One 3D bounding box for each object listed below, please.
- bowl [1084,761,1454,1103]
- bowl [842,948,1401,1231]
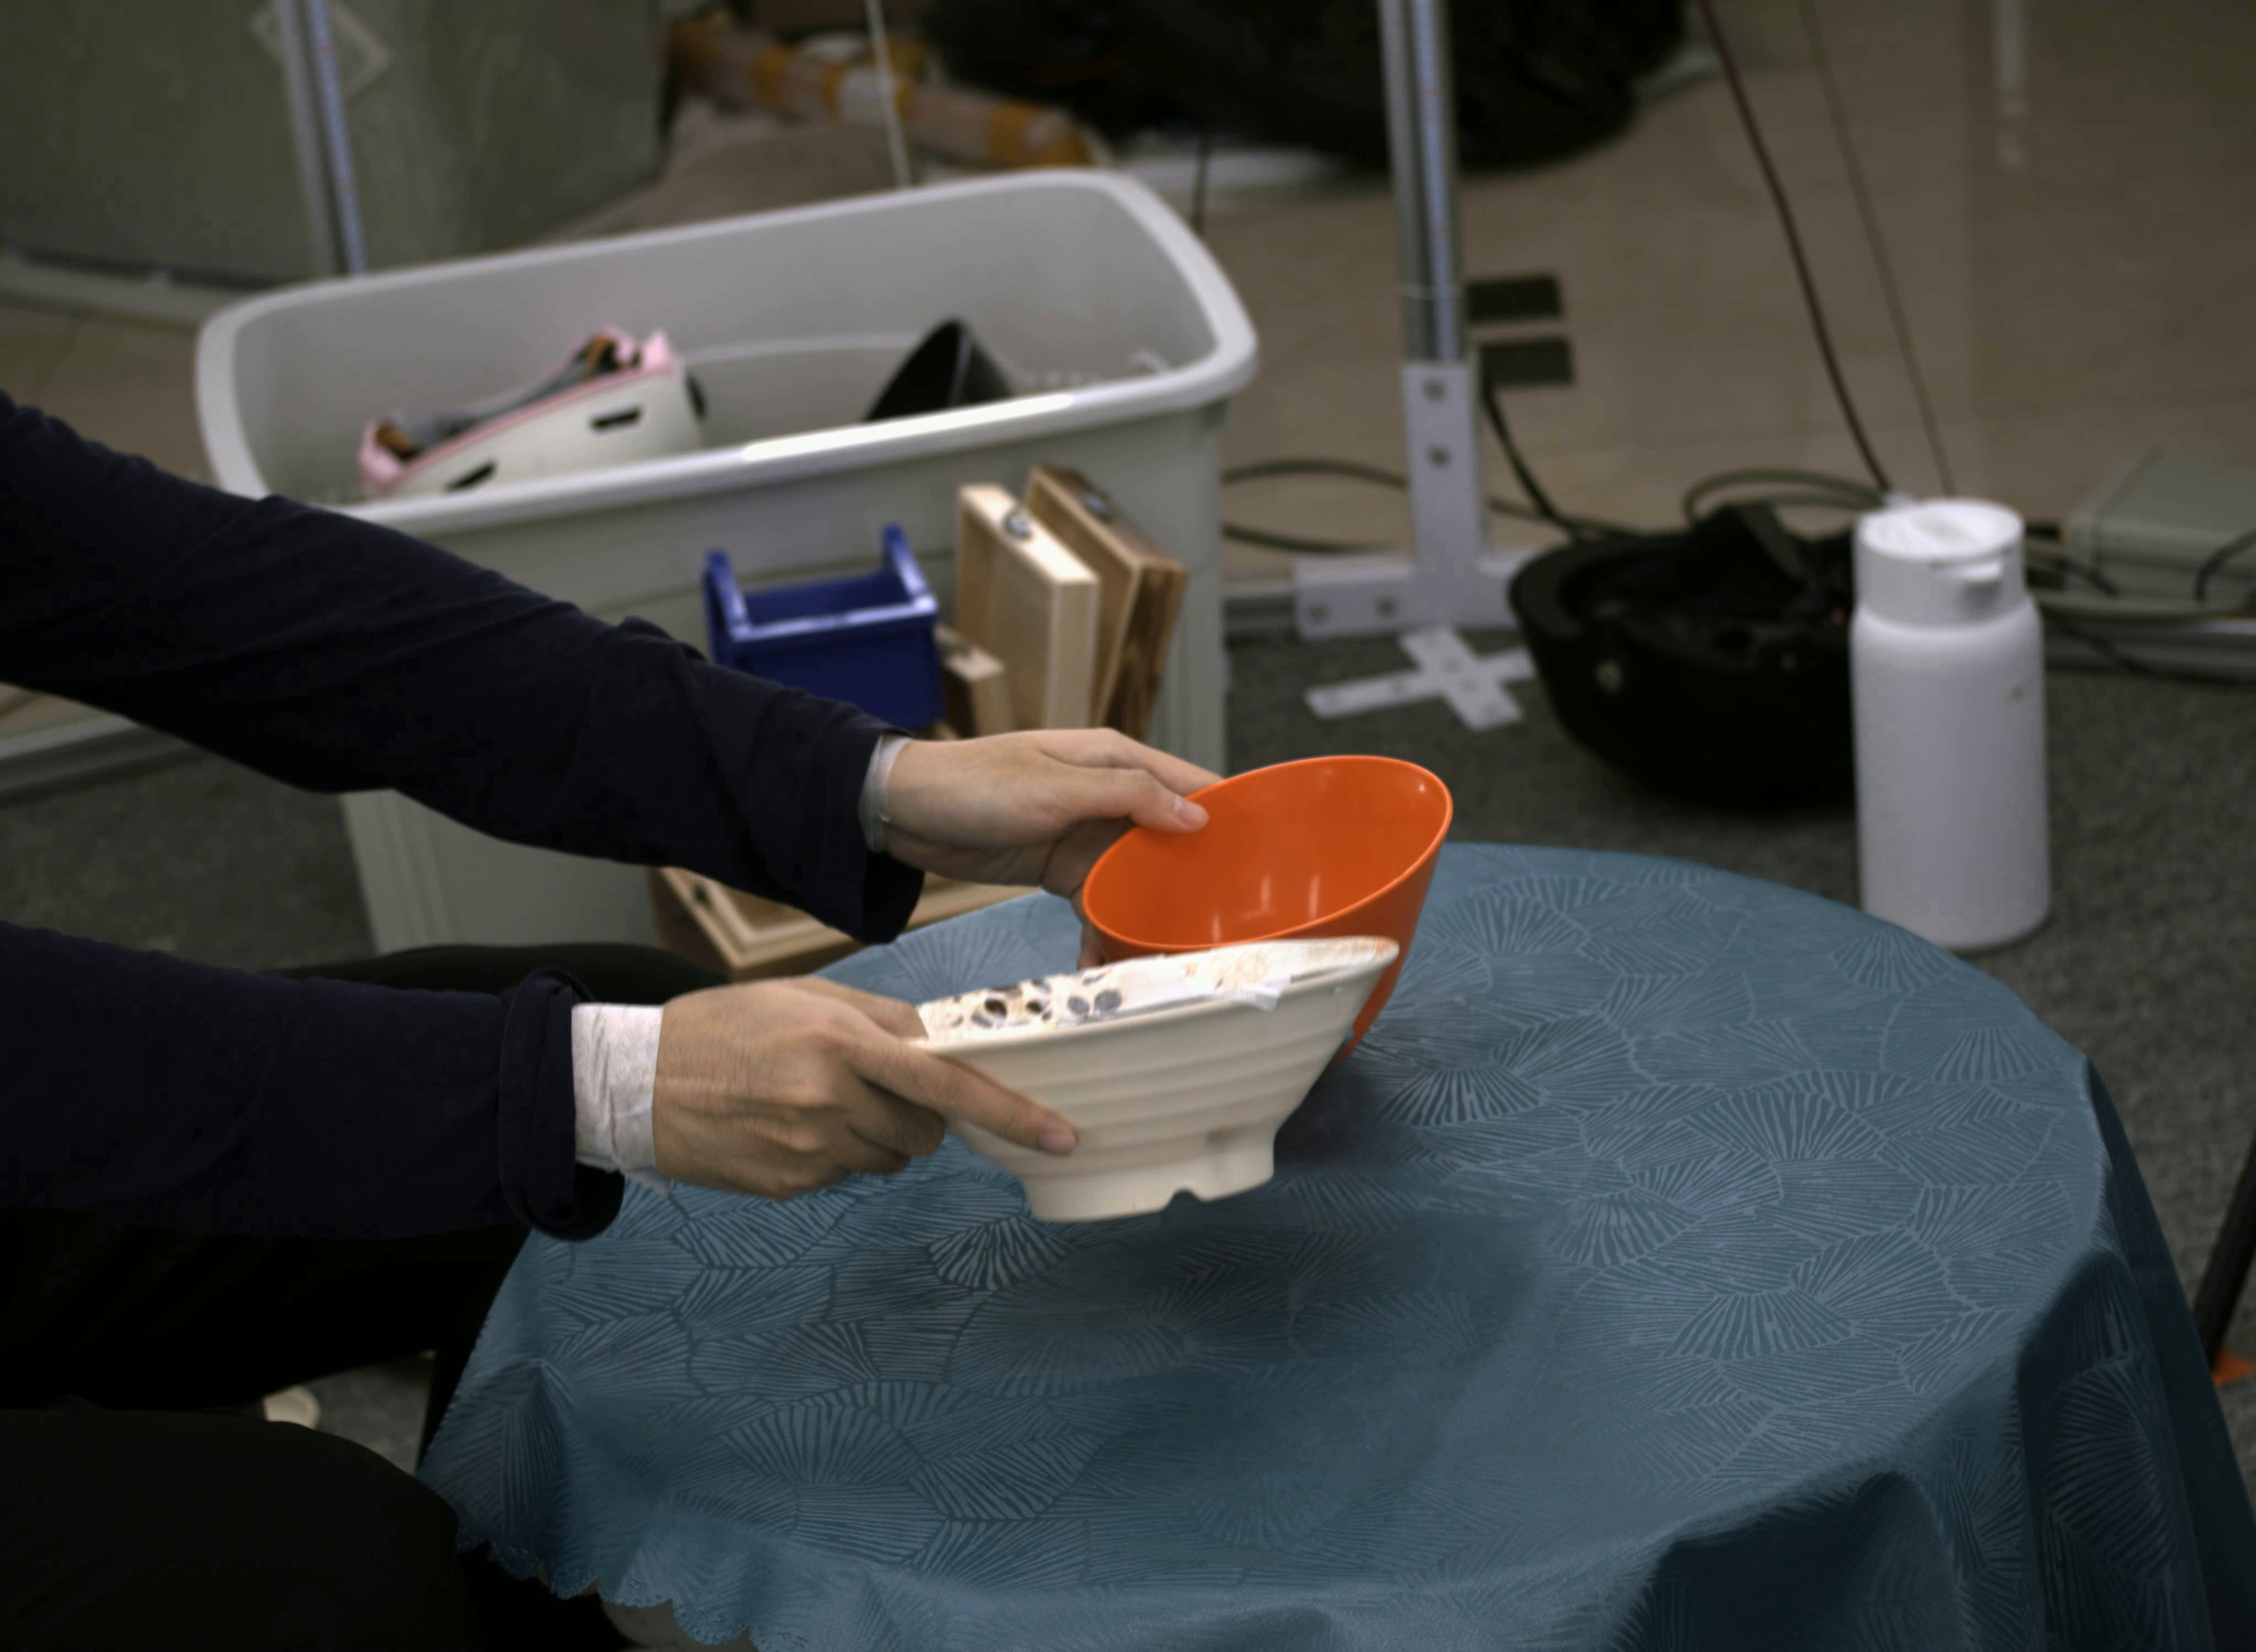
[{"bbox_3d":[0.060,0.048,2.214,0.148,0.106,0.146,-7,25,3],"label":"bowl"},{"bbox_3d":[0.004,0.099,2.032,0.203,0.078,0.203,-10,2,1],"label":"bowl"}]
